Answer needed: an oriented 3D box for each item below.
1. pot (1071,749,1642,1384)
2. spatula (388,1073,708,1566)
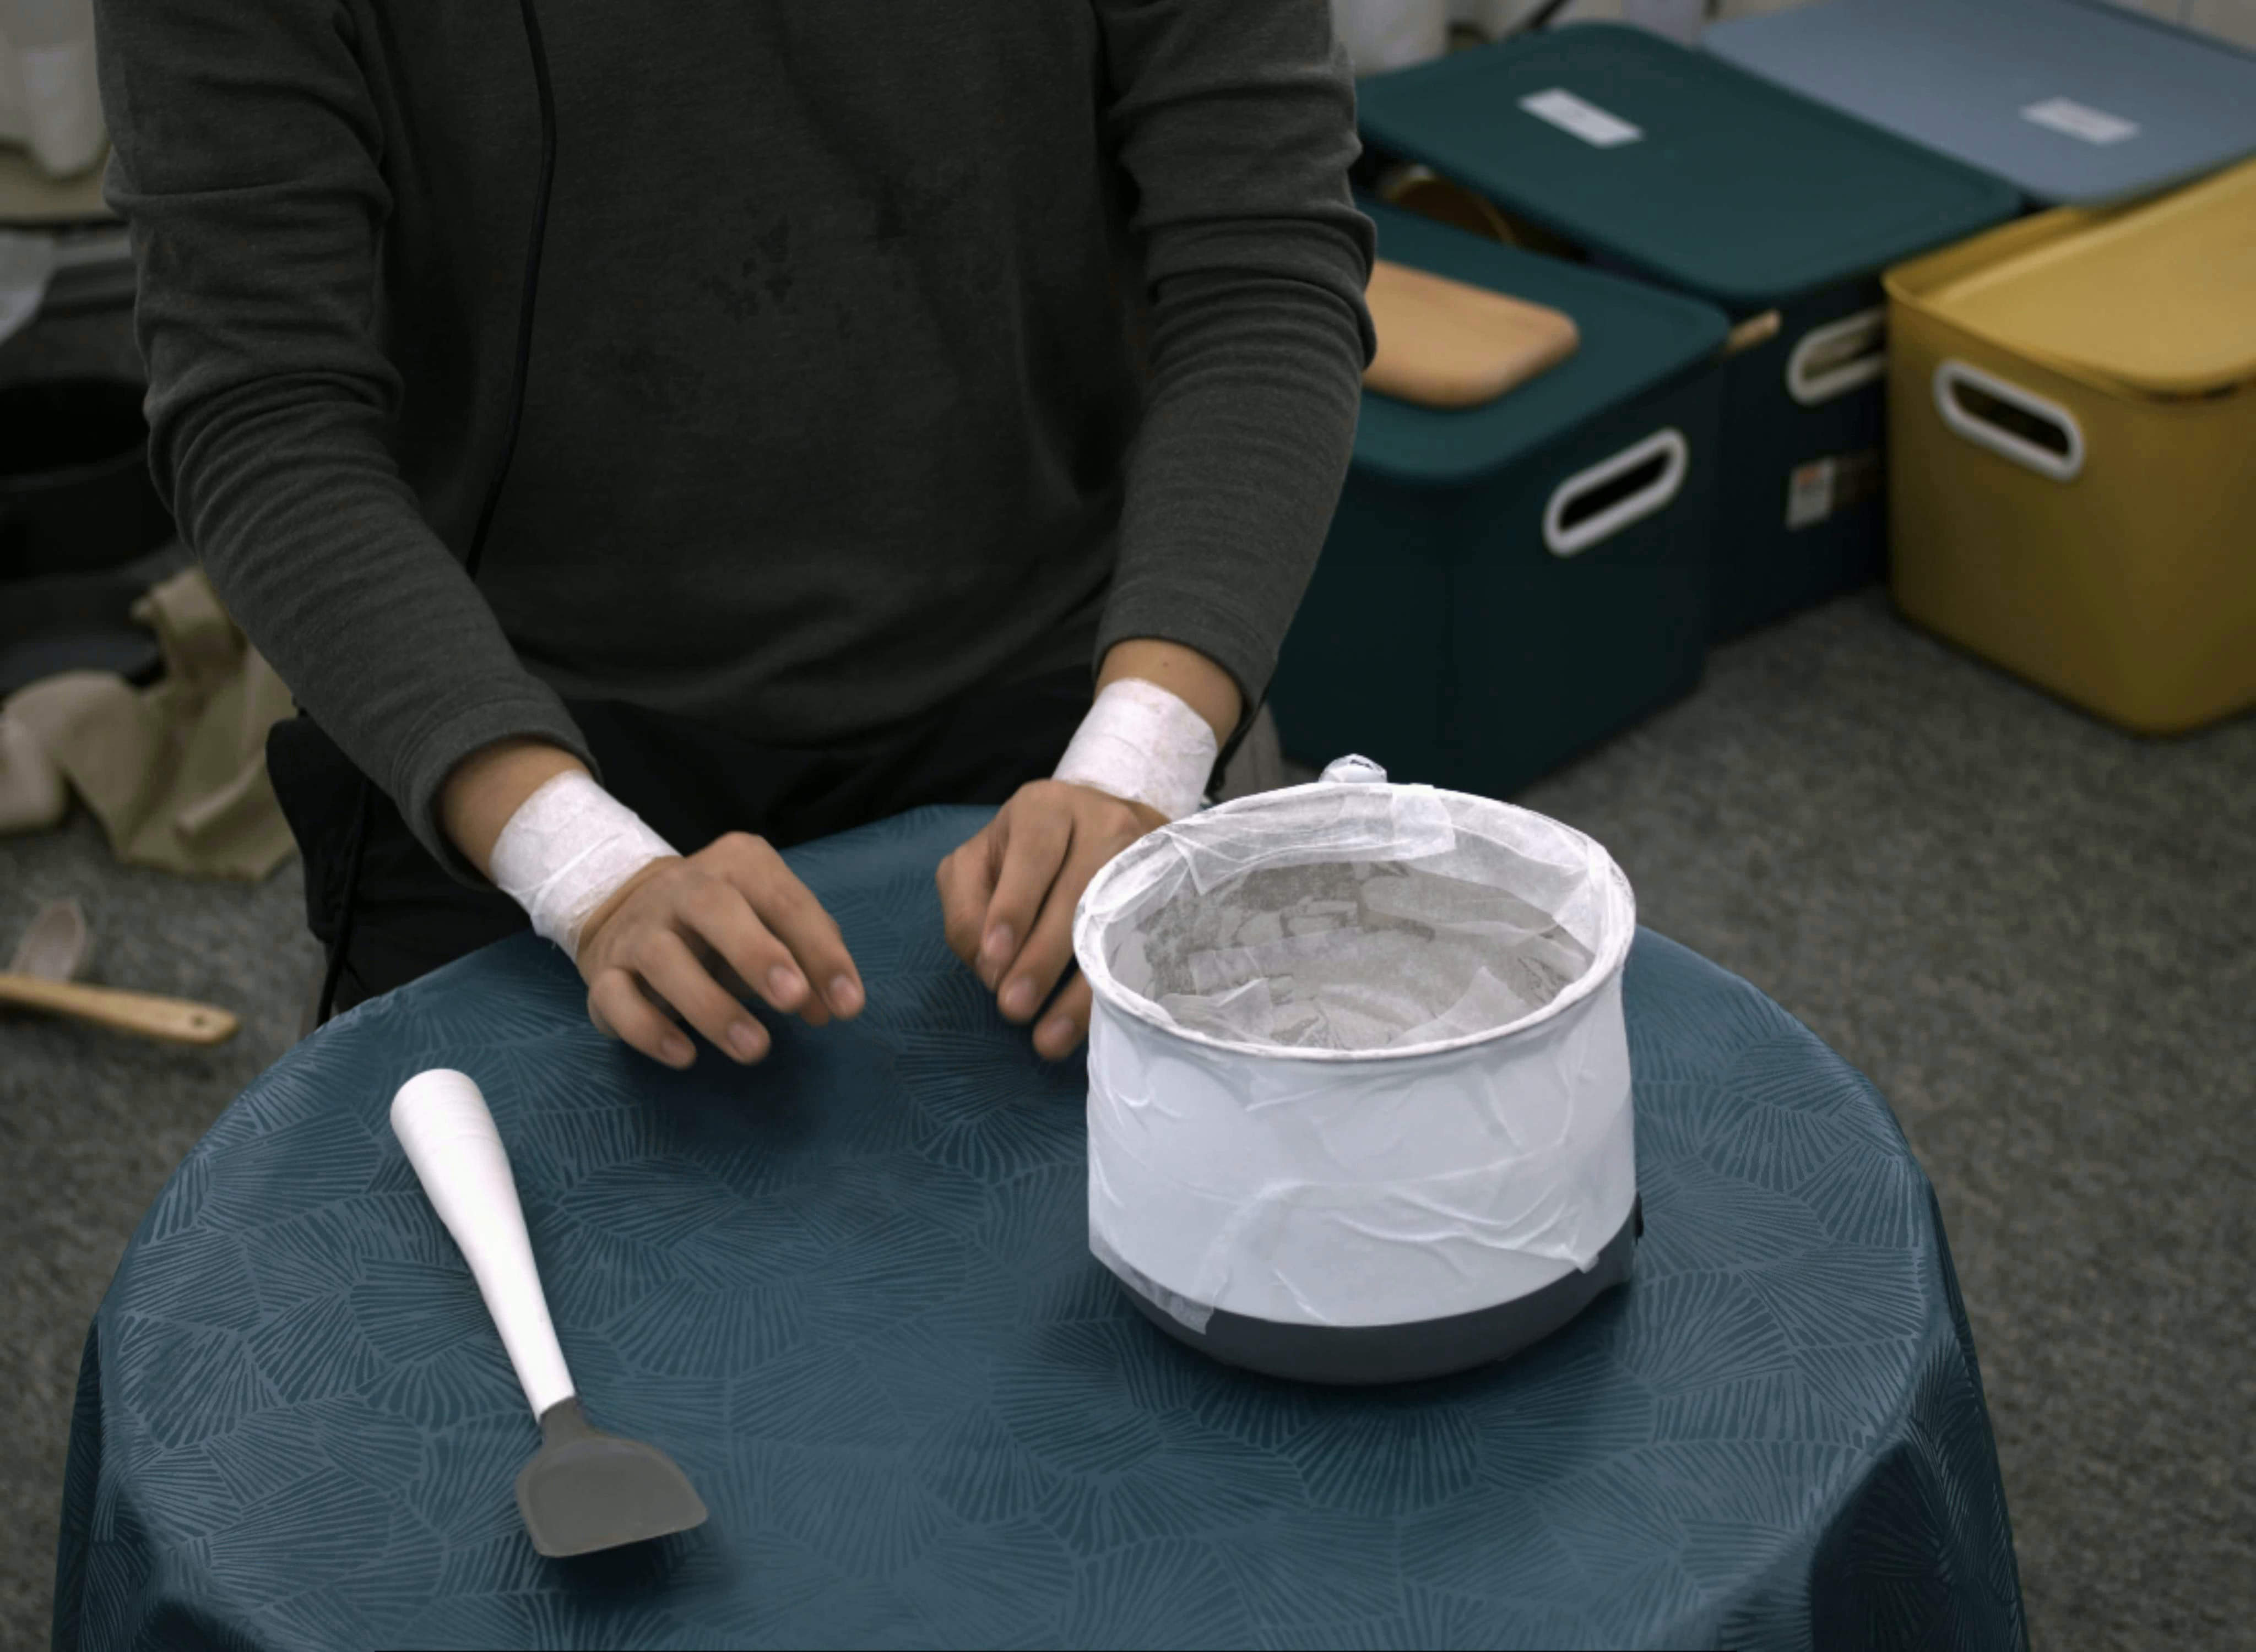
[{"bbox_3d":[0.074,0.069,1.807,0.178,0.135,0.237,-2,27,2],"label":"pot"},{"bbox_3d":[-0.190,0.159,1.771,0.059,0.032,0.290,-8,27,-16],"label":"spatula"}]
